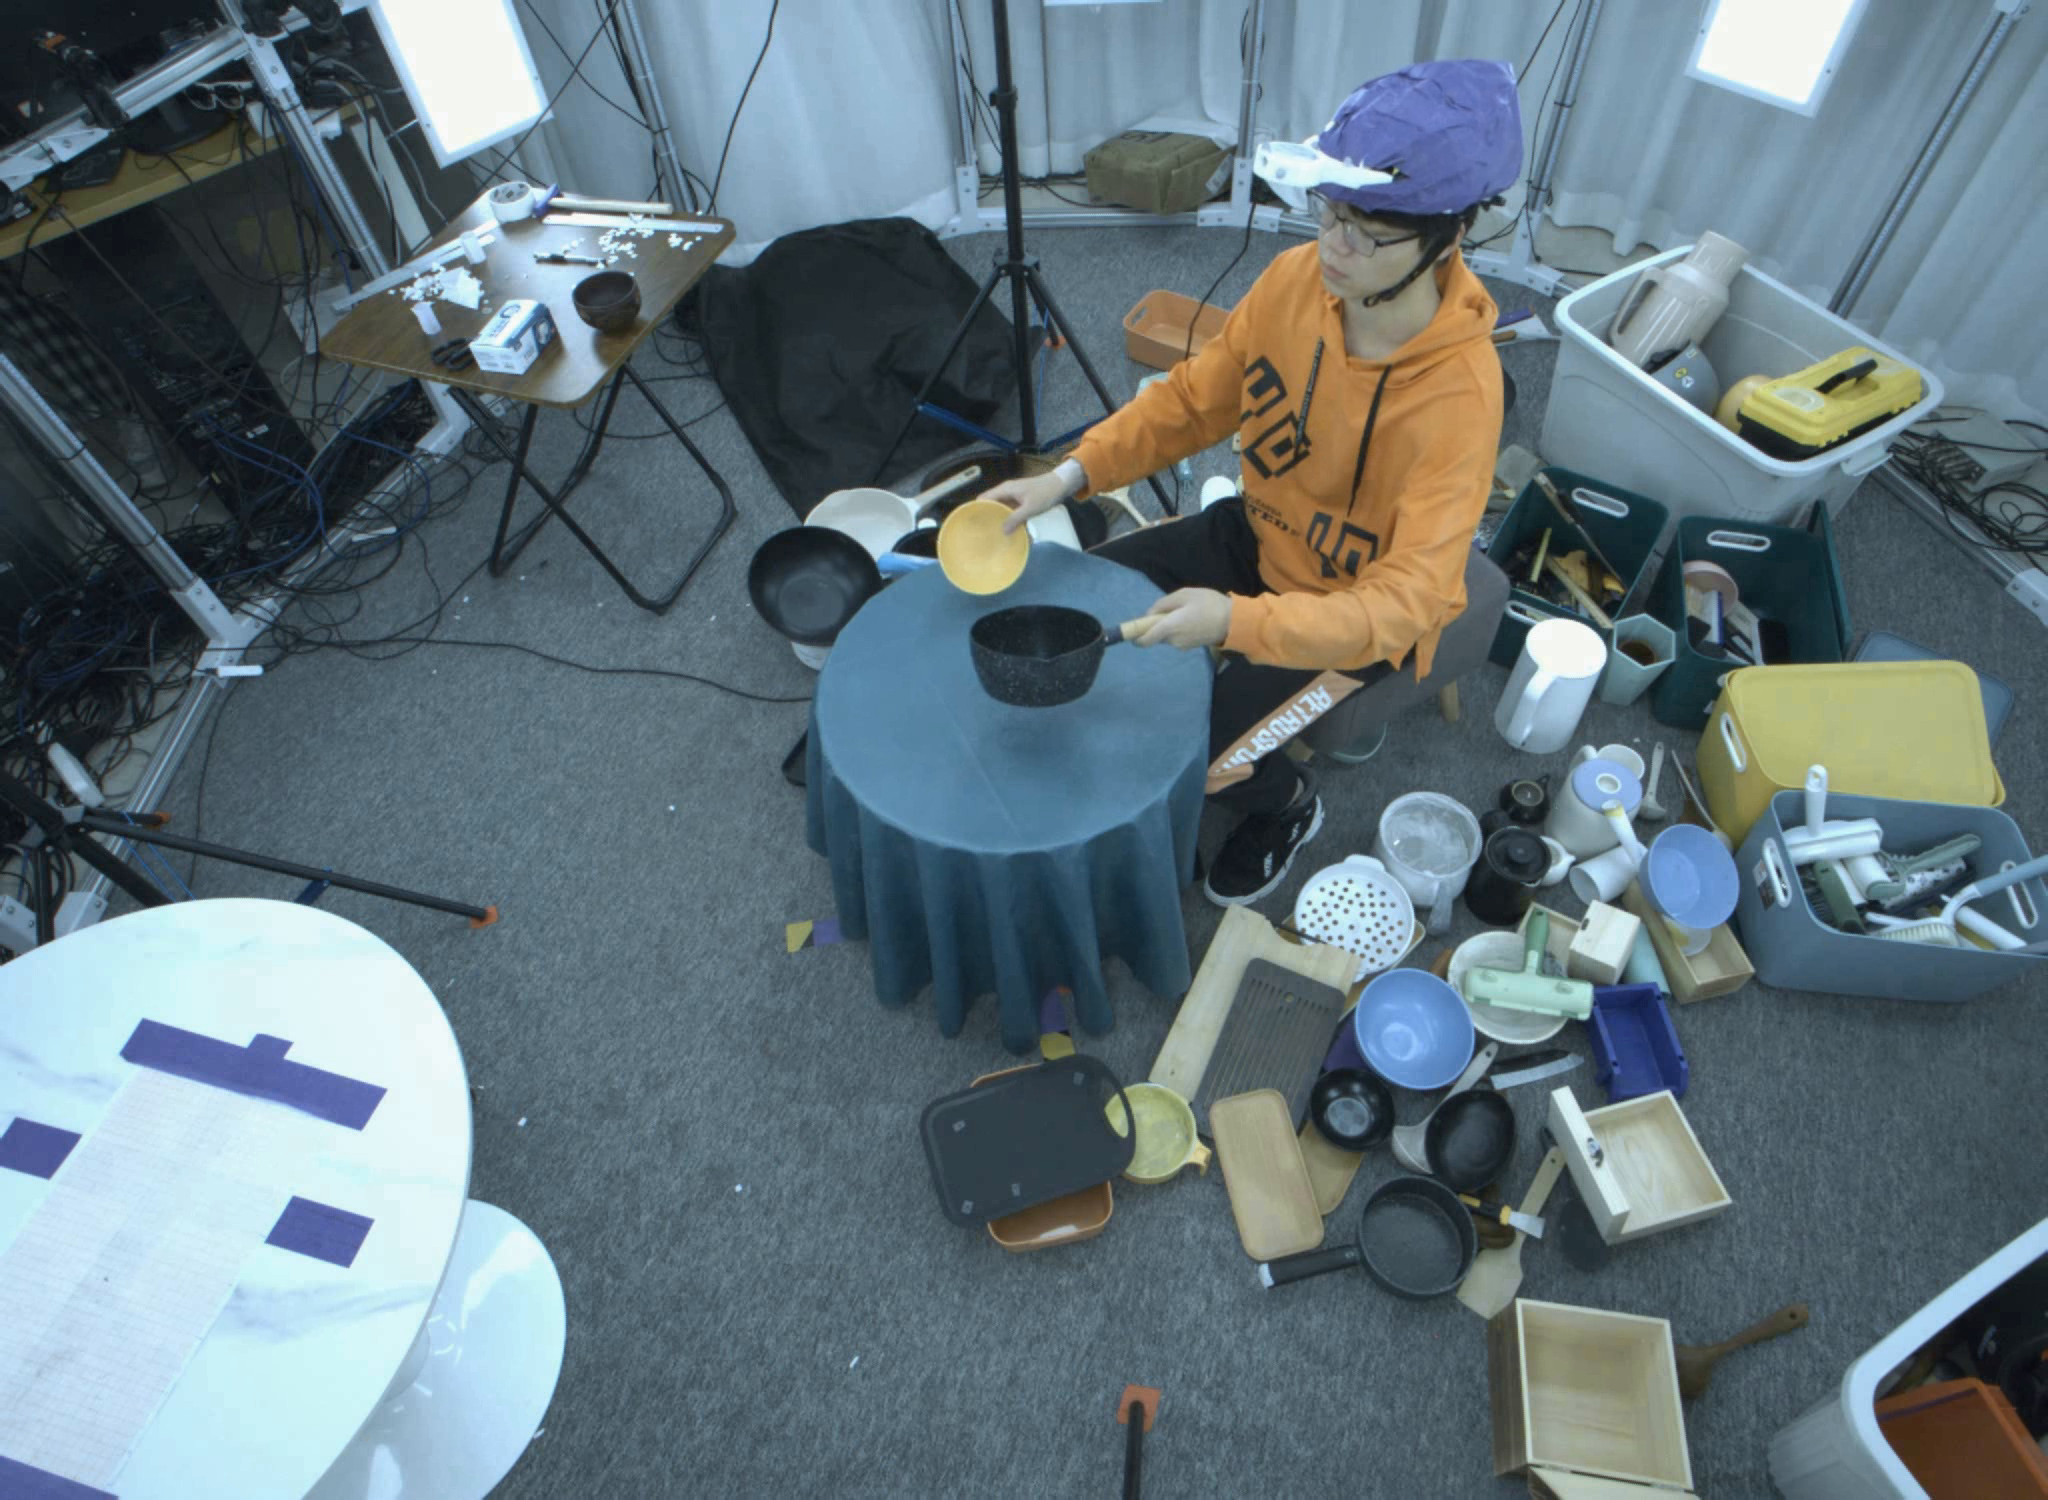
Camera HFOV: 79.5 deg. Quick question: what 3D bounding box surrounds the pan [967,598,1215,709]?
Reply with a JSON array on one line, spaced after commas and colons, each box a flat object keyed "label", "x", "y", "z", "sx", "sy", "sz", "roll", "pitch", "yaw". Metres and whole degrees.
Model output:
[{"label": "pan", "x": 0.094, "y": -0.144, "z": 1.697, "sx": 0.345, "sy": 0.109, "sz": 0.204, "roll": -7, "pitch": 29, "yaw": -8}]

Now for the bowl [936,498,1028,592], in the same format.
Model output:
[{"label": "bowl", "x": -0.071, "y": -0.321, "z": 1.899, "sx": 0.146, "sy": 0.147, "sz": 0.059, "roll": -20, "pitch": 20, "yaw": -11}]
